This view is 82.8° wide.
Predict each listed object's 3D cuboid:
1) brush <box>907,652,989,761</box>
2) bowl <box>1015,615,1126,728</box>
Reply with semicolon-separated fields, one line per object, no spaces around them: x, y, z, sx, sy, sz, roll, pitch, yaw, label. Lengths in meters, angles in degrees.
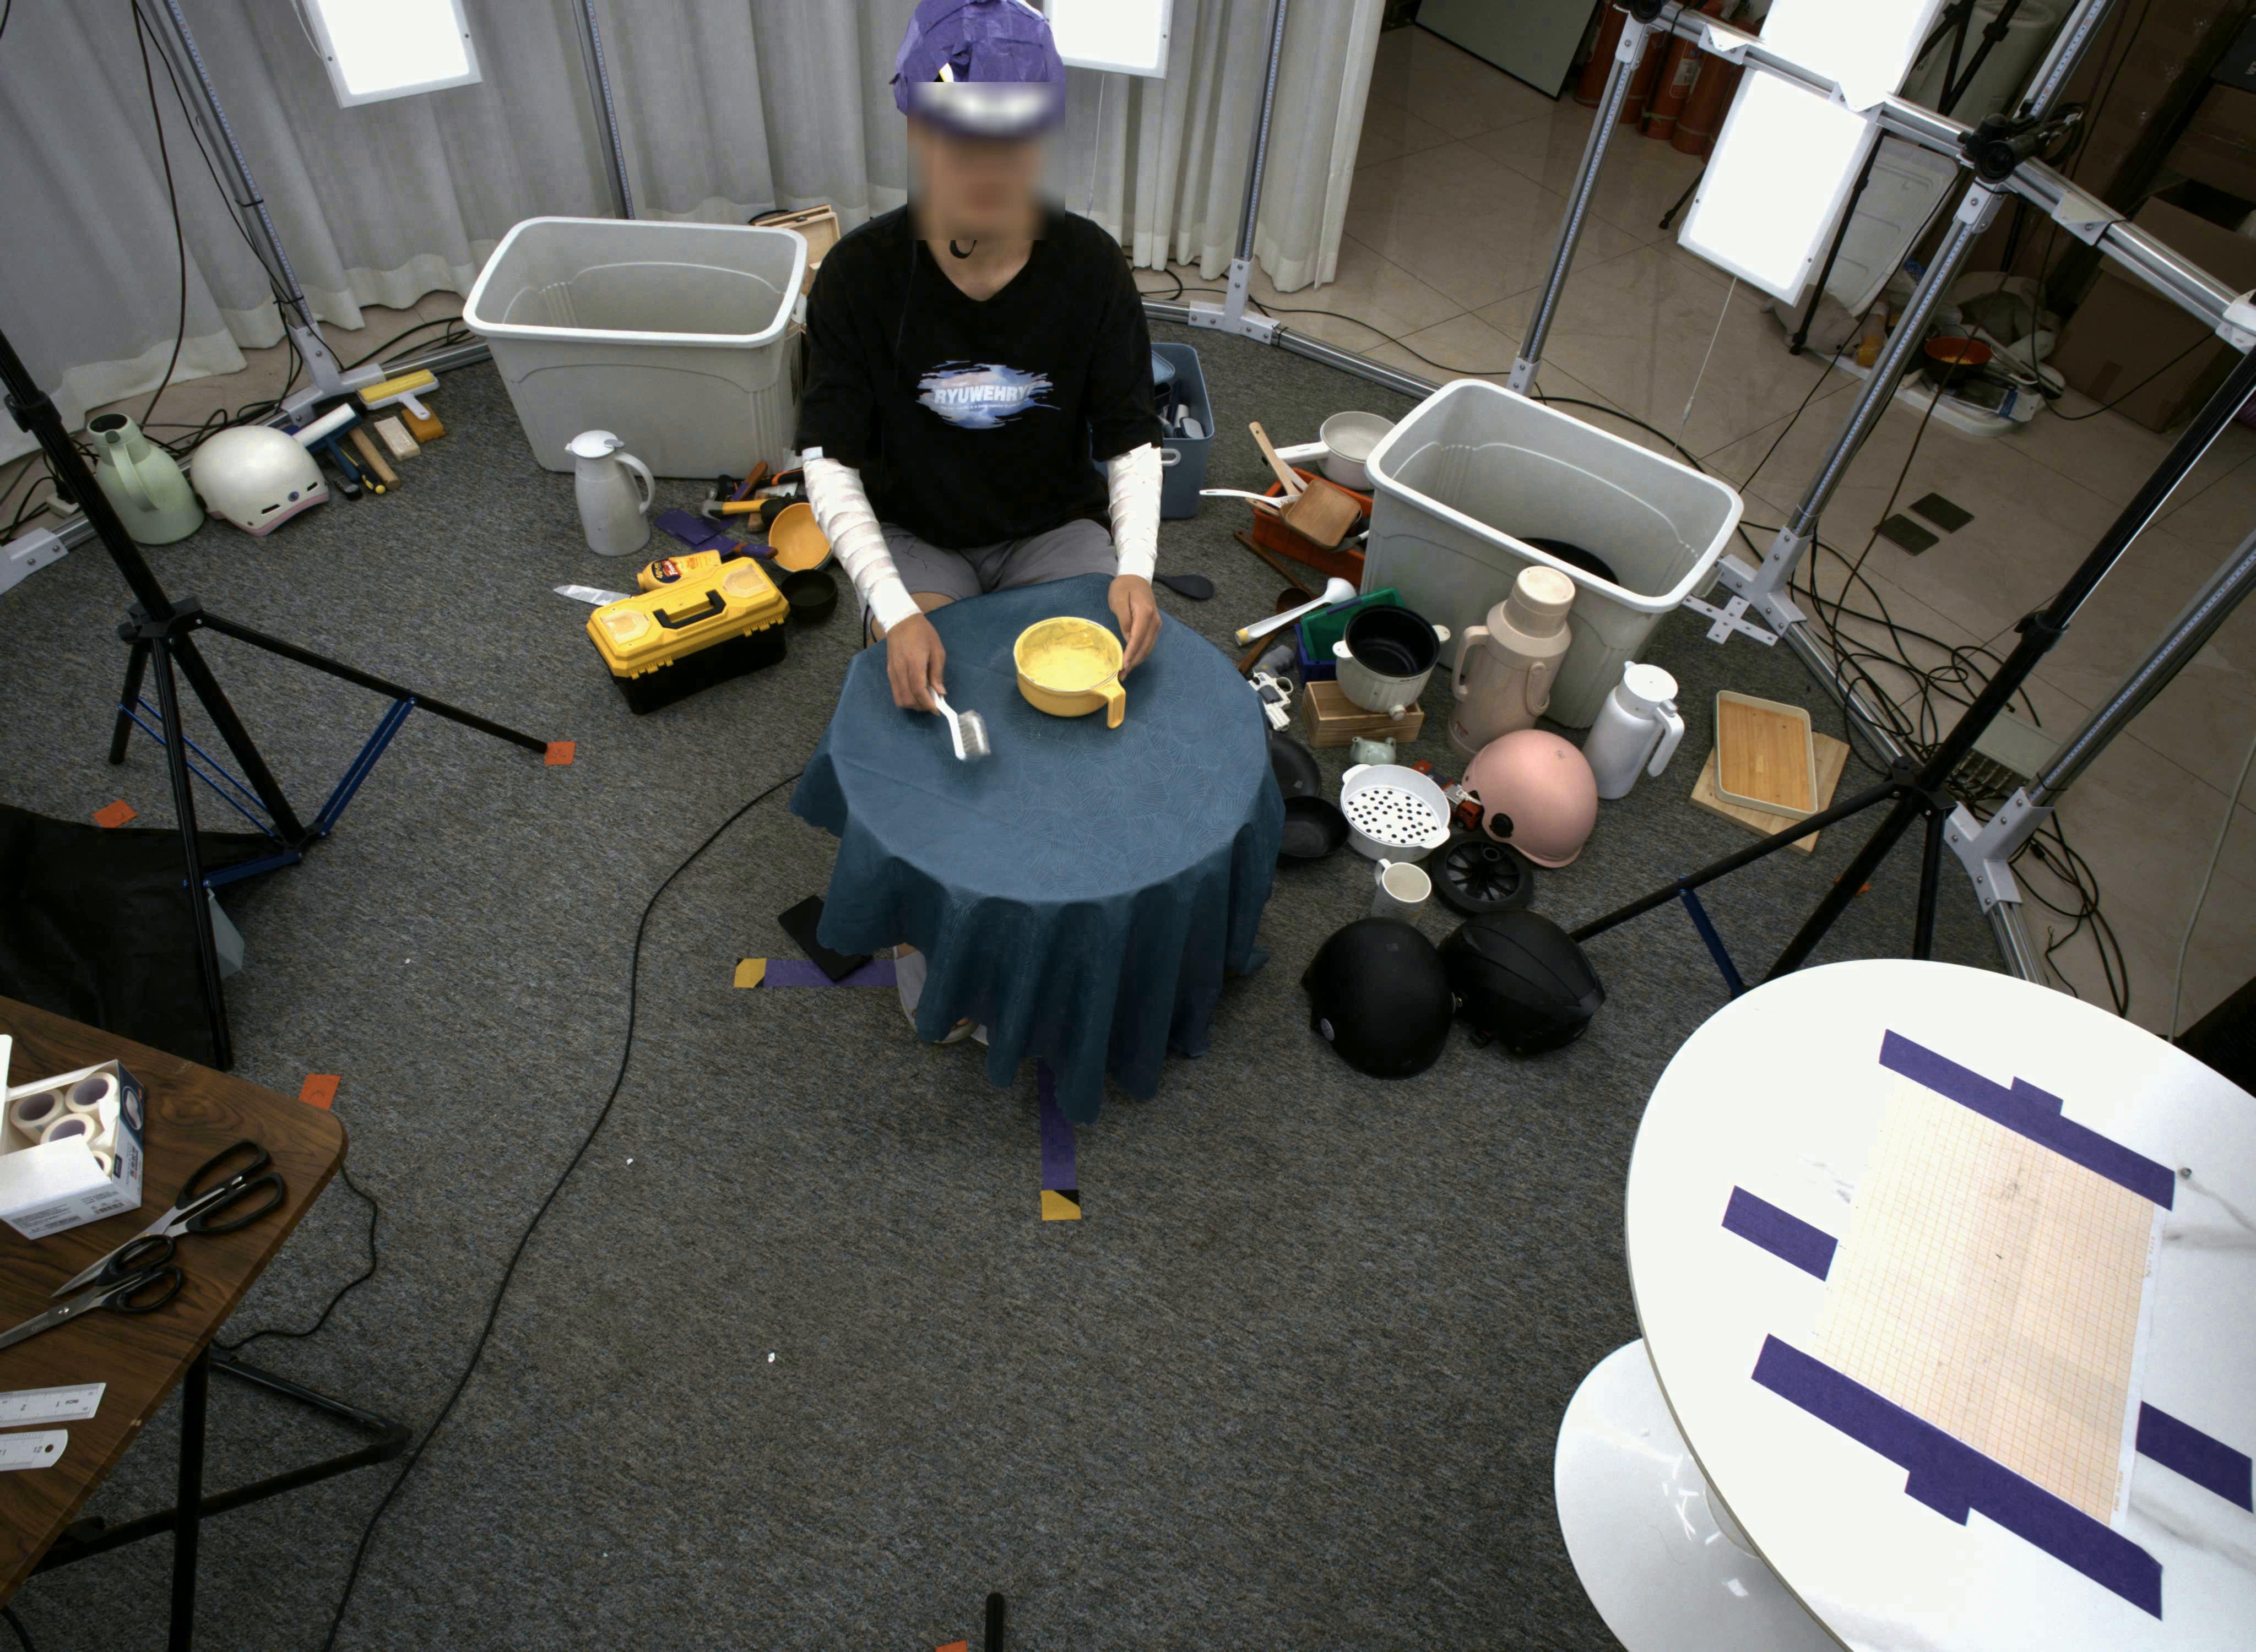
-0.246;-0.177;1.755;0.034;0.050;0.249;25;25;-45;brush
-0.075;-0.214;1.809;0.182;0.072;0.154;38;54;24;bowl
